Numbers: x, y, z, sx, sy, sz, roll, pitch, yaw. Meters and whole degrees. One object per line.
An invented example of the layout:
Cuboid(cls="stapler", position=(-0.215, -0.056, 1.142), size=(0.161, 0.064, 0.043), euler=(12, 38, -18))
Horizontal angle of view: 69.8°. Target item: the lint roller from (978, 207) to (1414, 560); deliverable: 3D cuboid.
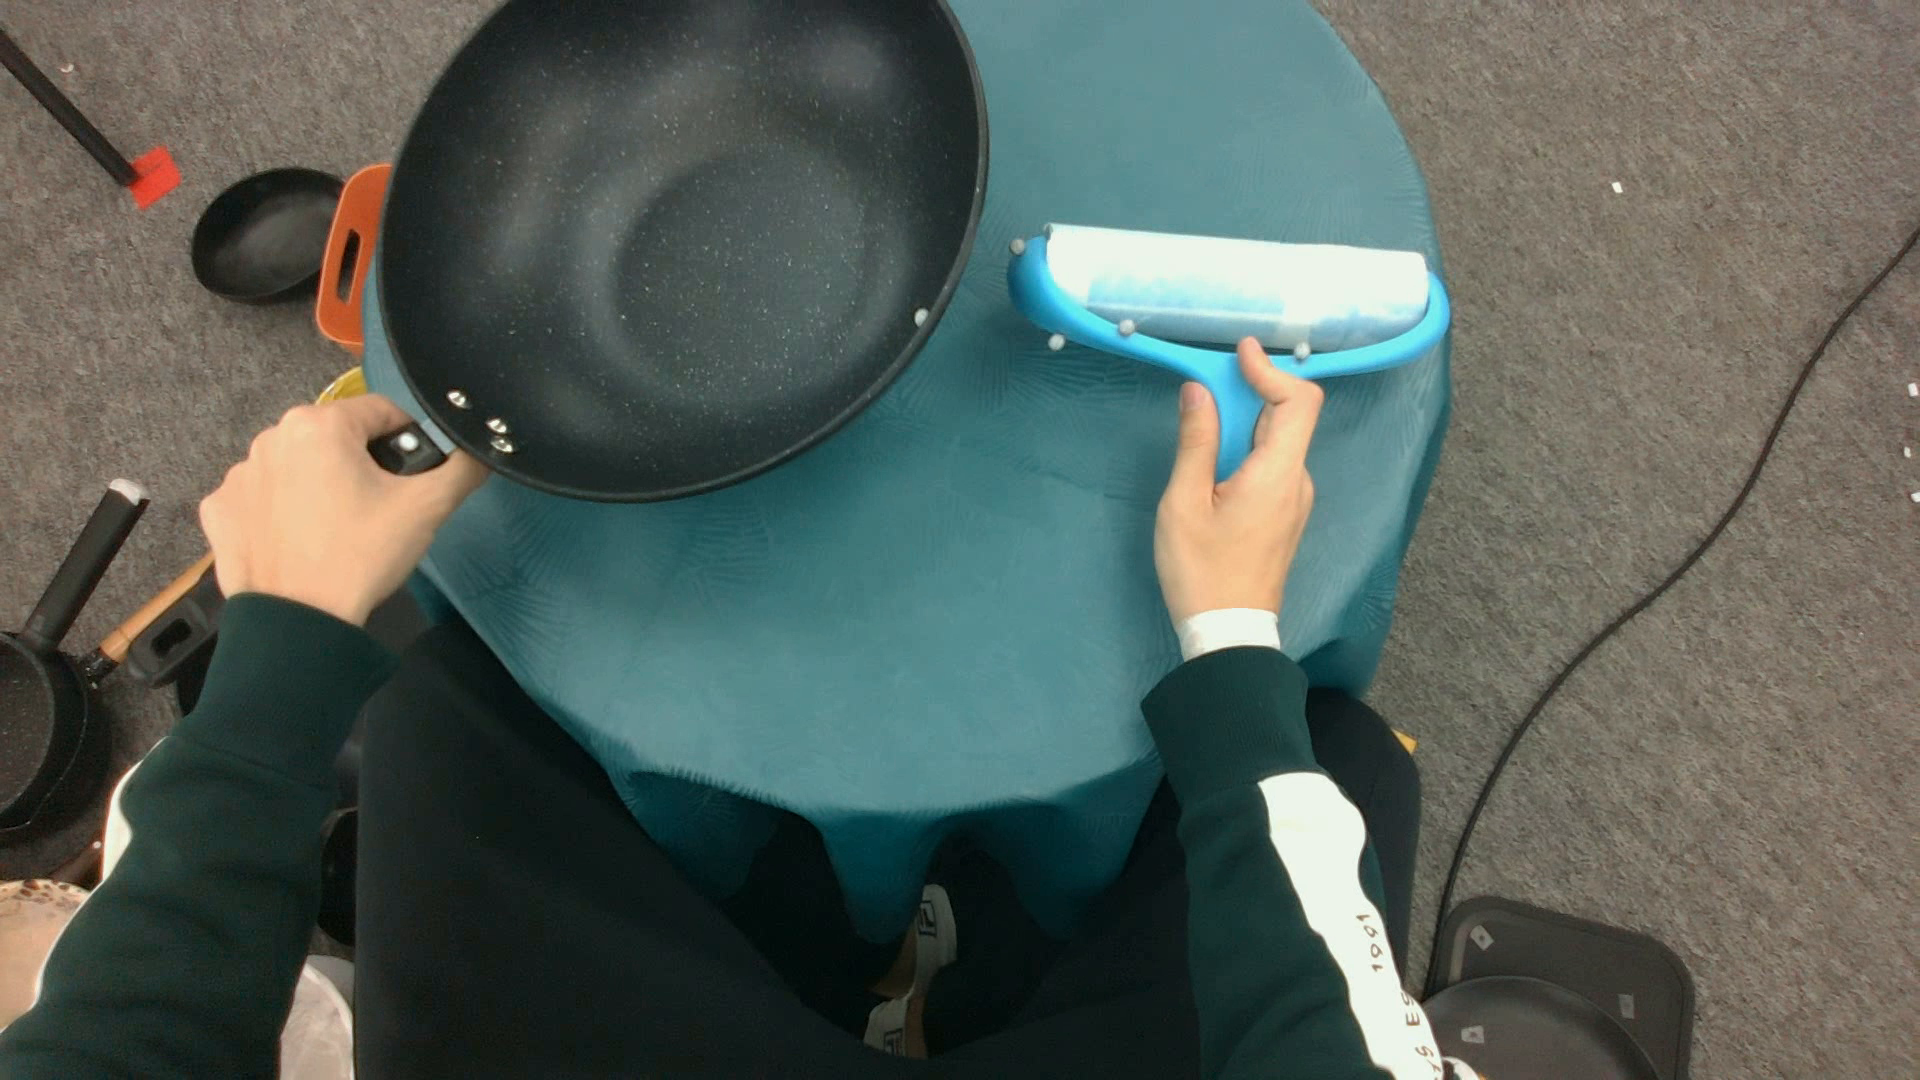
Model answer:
Cuboid(cls="lint roller", position=(0.126, -0.084, 0.702), size=(0.229, 0.068, 0.180), euler=(-1, 76, -8))

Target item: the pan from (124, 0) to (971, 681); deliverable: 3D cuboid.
Cuboid(cls="pan", position=(-0.194, -0.105, 0.668), size=(0.310, 0.111, 0.477), euler=(41, 87, 22))
